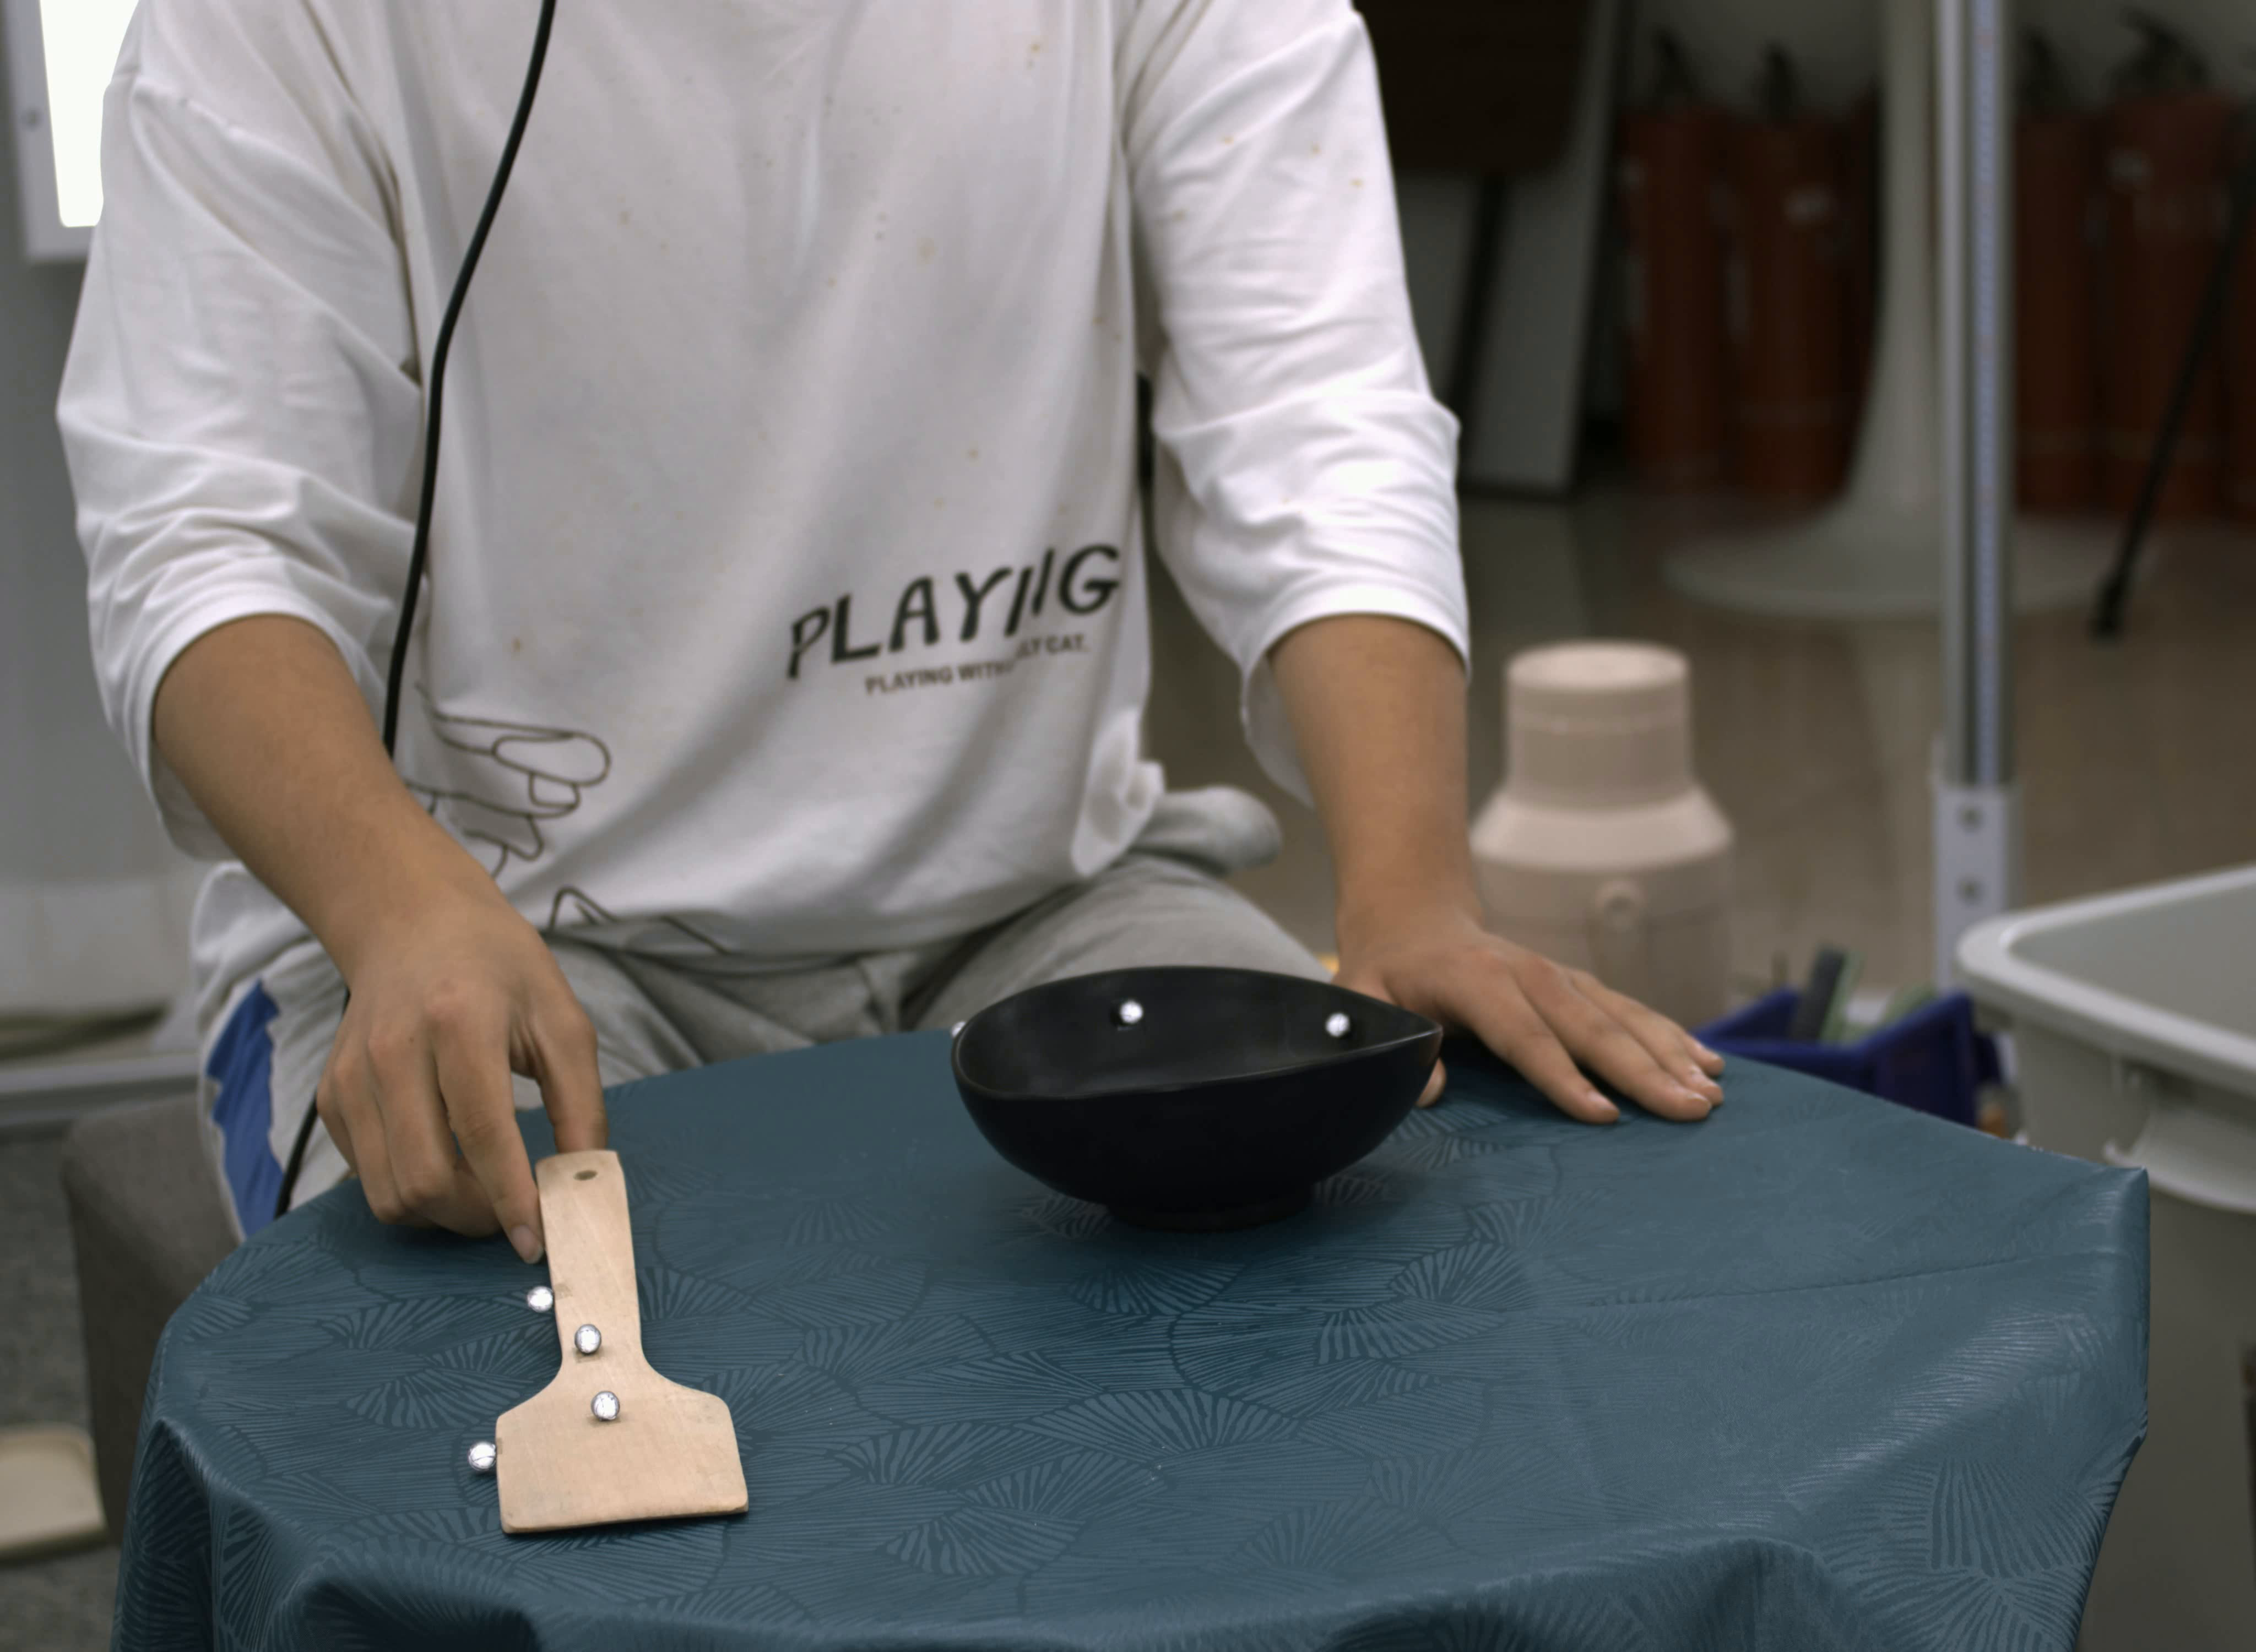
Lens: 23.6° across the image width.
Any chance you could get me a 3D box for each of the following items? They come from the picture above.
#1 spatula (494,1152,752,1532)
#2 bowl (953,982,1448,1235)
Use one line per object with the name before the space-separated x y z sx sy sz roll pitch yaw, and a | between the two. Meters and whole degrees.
spatula | -0.159 0.153 1.640 0.071 0.011 0.294 -6 18 -7
bowl | 0.024 0.093 1.751 0.166 0.067 0.139 -9 13 -29
